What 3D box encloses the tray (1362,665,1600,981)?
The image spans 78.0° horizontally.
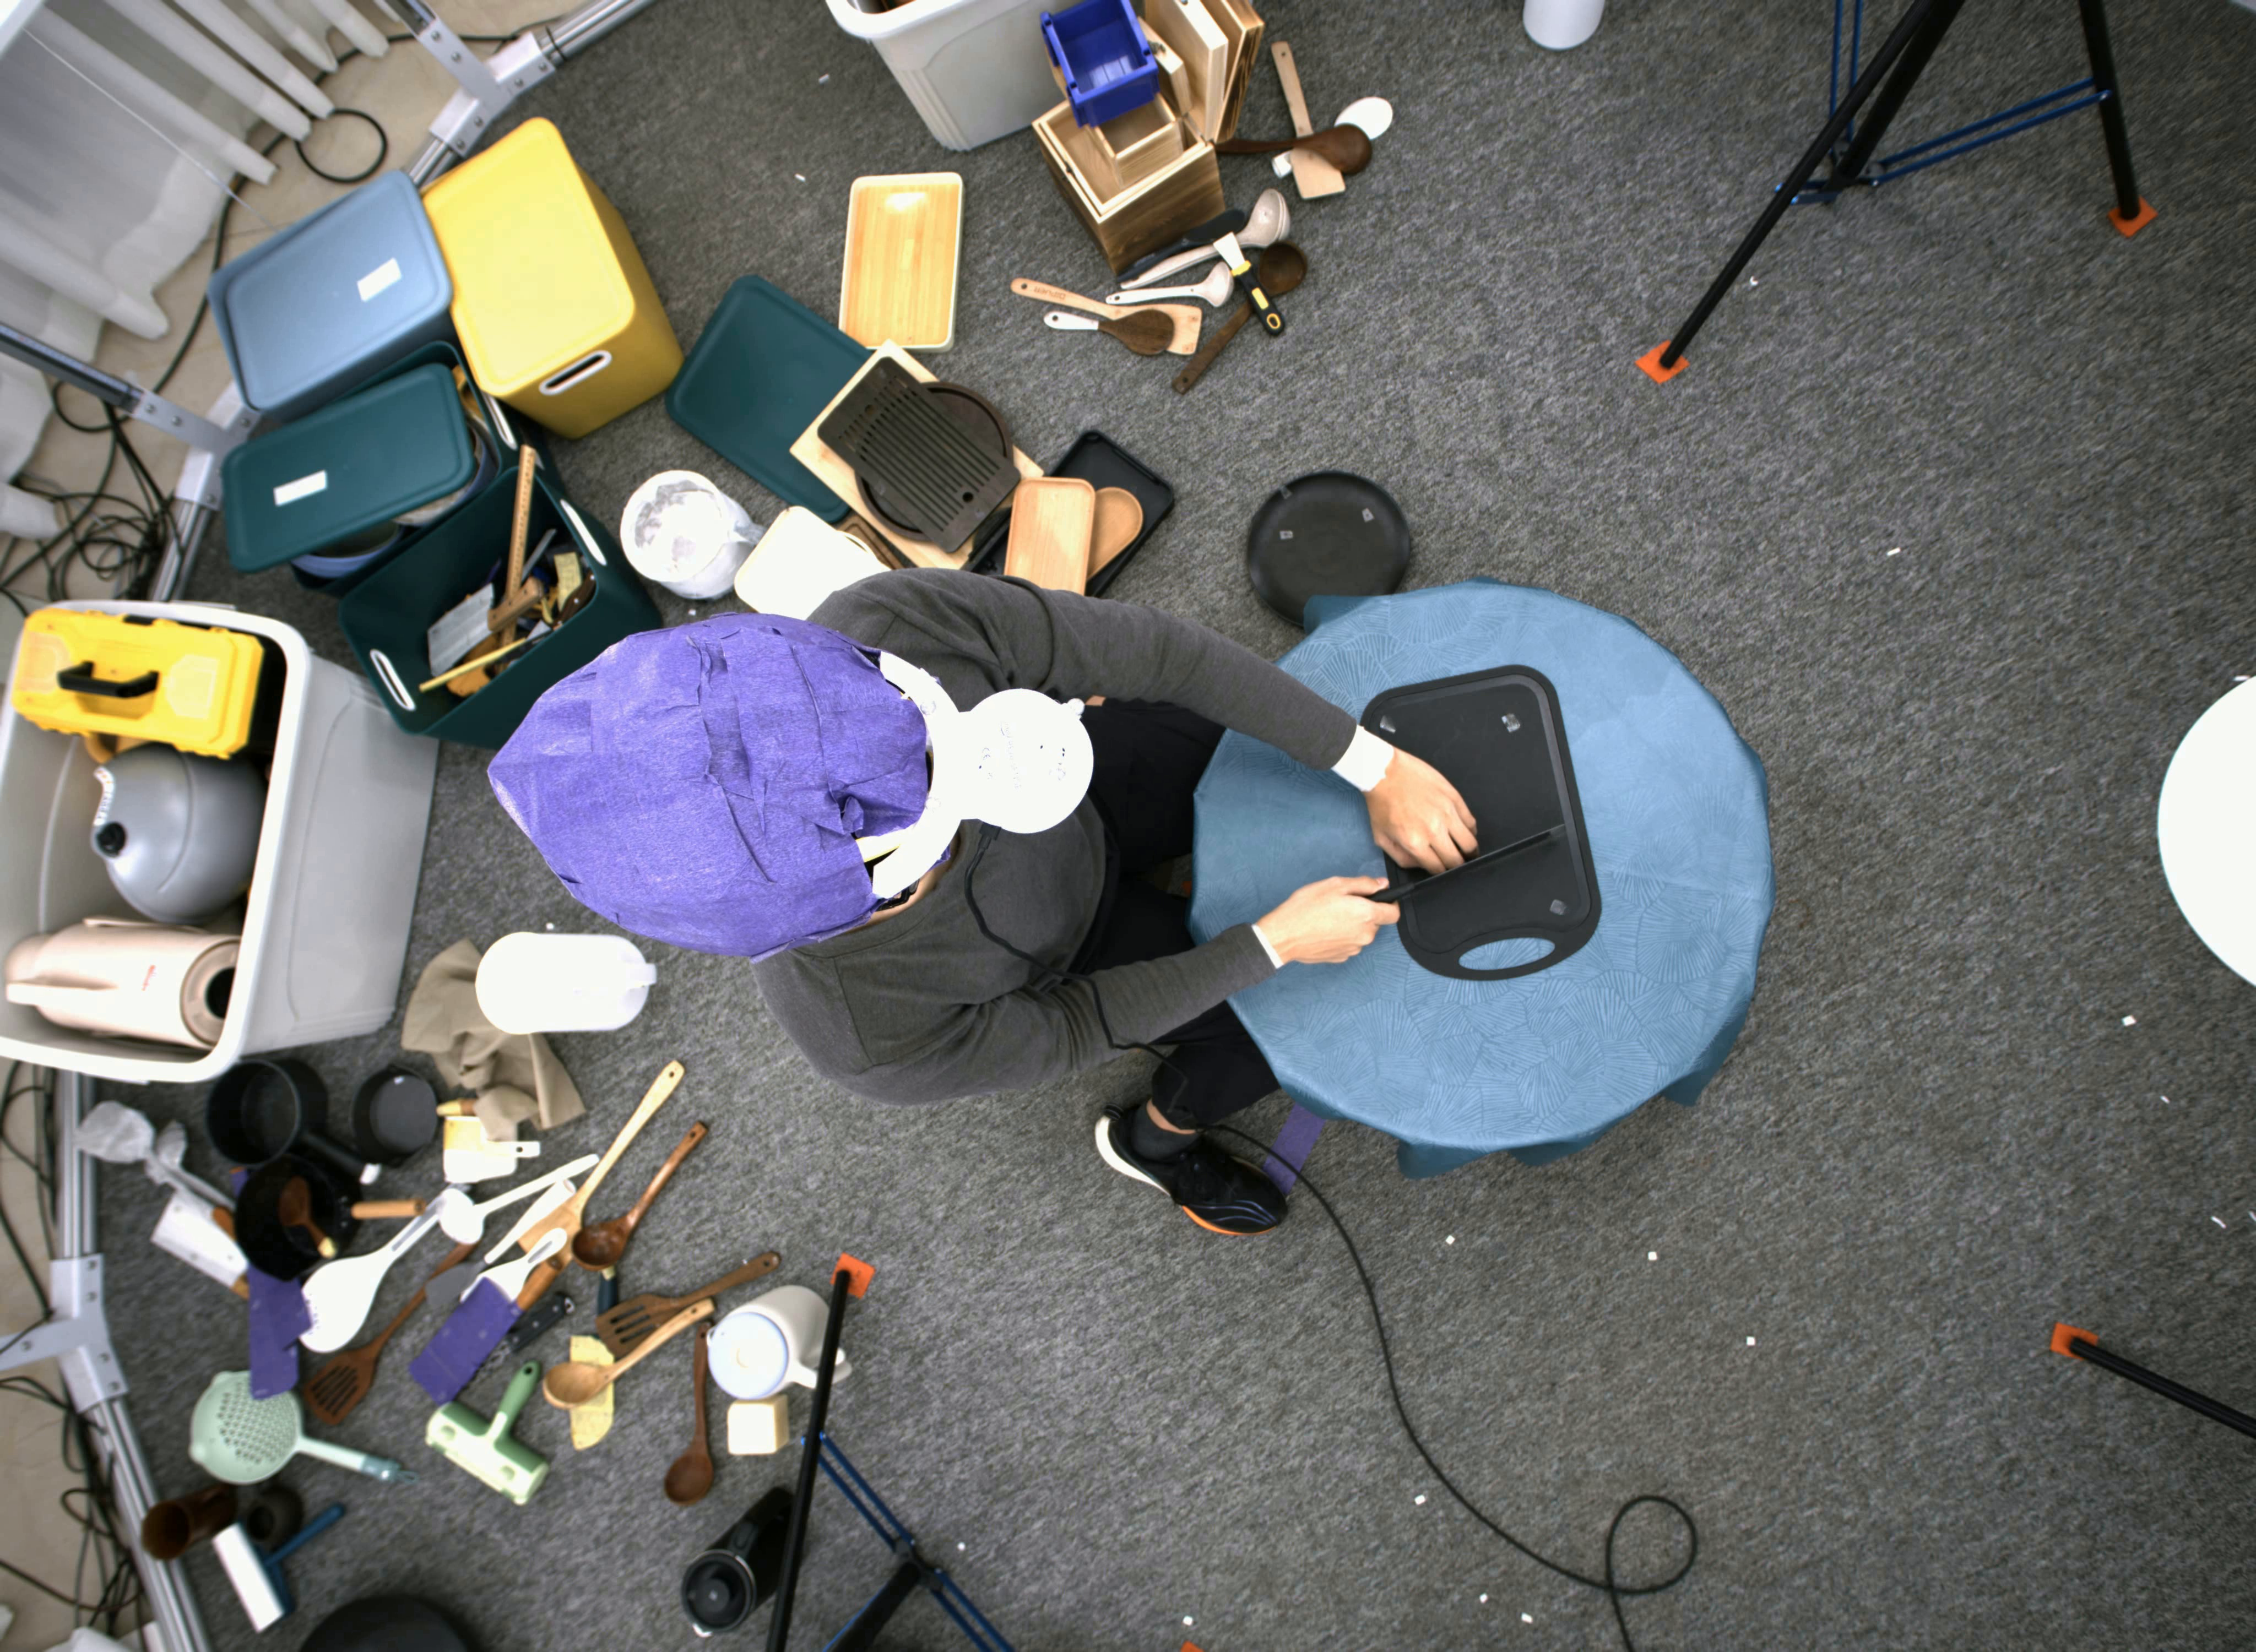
[{"bbox_3d":[0.371,-0.003,1.442,0.212,0.010,0.323,-10,85,11],"label":"tray"}]

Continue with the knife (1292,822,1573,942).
[{"bbox_3d":[0.309,0.054,1.402,0.303,0.081,0.020,-22,76,4],"label":"knife"}]
